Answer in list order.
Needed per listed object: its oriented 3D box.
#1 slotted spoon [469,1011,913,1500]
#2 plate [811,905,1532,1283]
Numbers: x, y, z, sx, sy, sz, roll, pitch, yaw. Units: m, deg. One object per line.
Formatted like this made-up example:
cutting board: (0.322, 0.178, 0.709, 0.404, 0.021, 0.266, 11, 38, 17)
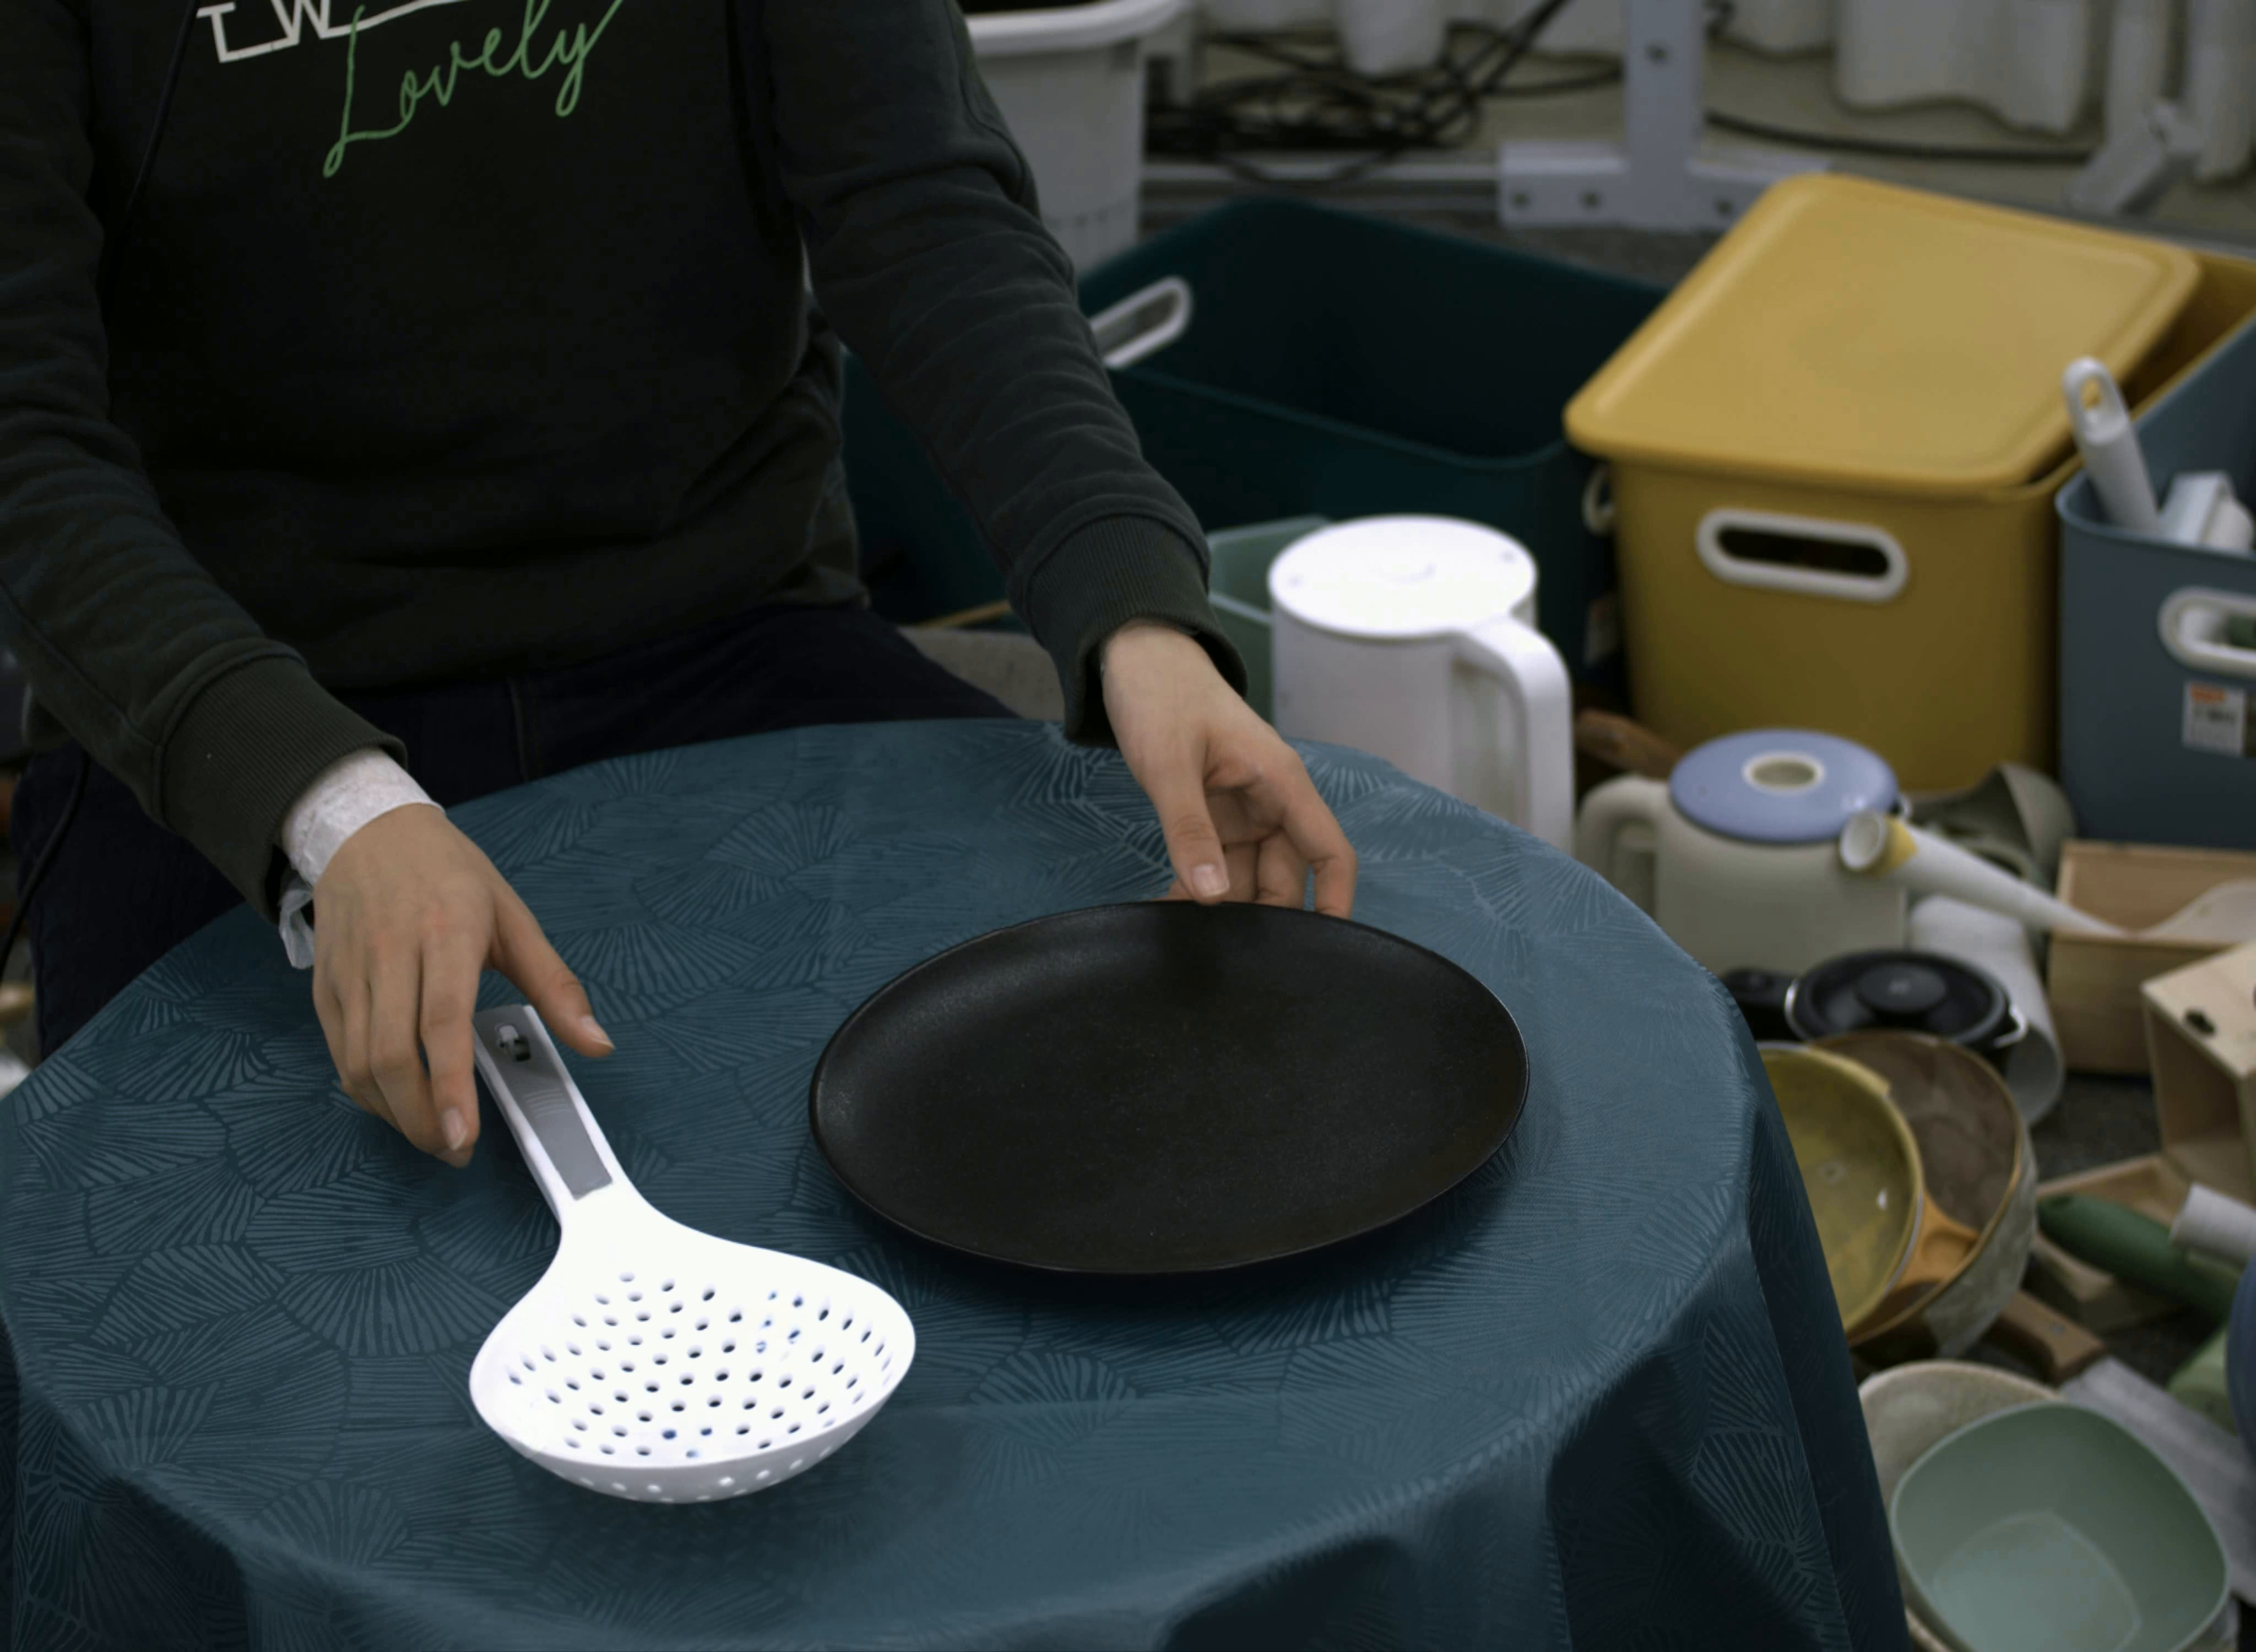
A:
slotted spoon: (-0.166, 0.132, 1.809, 0.136, 0.045, 0.353, -9, 27, -16)
plate: (0.015, 0.093, 1.889, 0.243, 0.023, 0.248, -2, 27, 2)
